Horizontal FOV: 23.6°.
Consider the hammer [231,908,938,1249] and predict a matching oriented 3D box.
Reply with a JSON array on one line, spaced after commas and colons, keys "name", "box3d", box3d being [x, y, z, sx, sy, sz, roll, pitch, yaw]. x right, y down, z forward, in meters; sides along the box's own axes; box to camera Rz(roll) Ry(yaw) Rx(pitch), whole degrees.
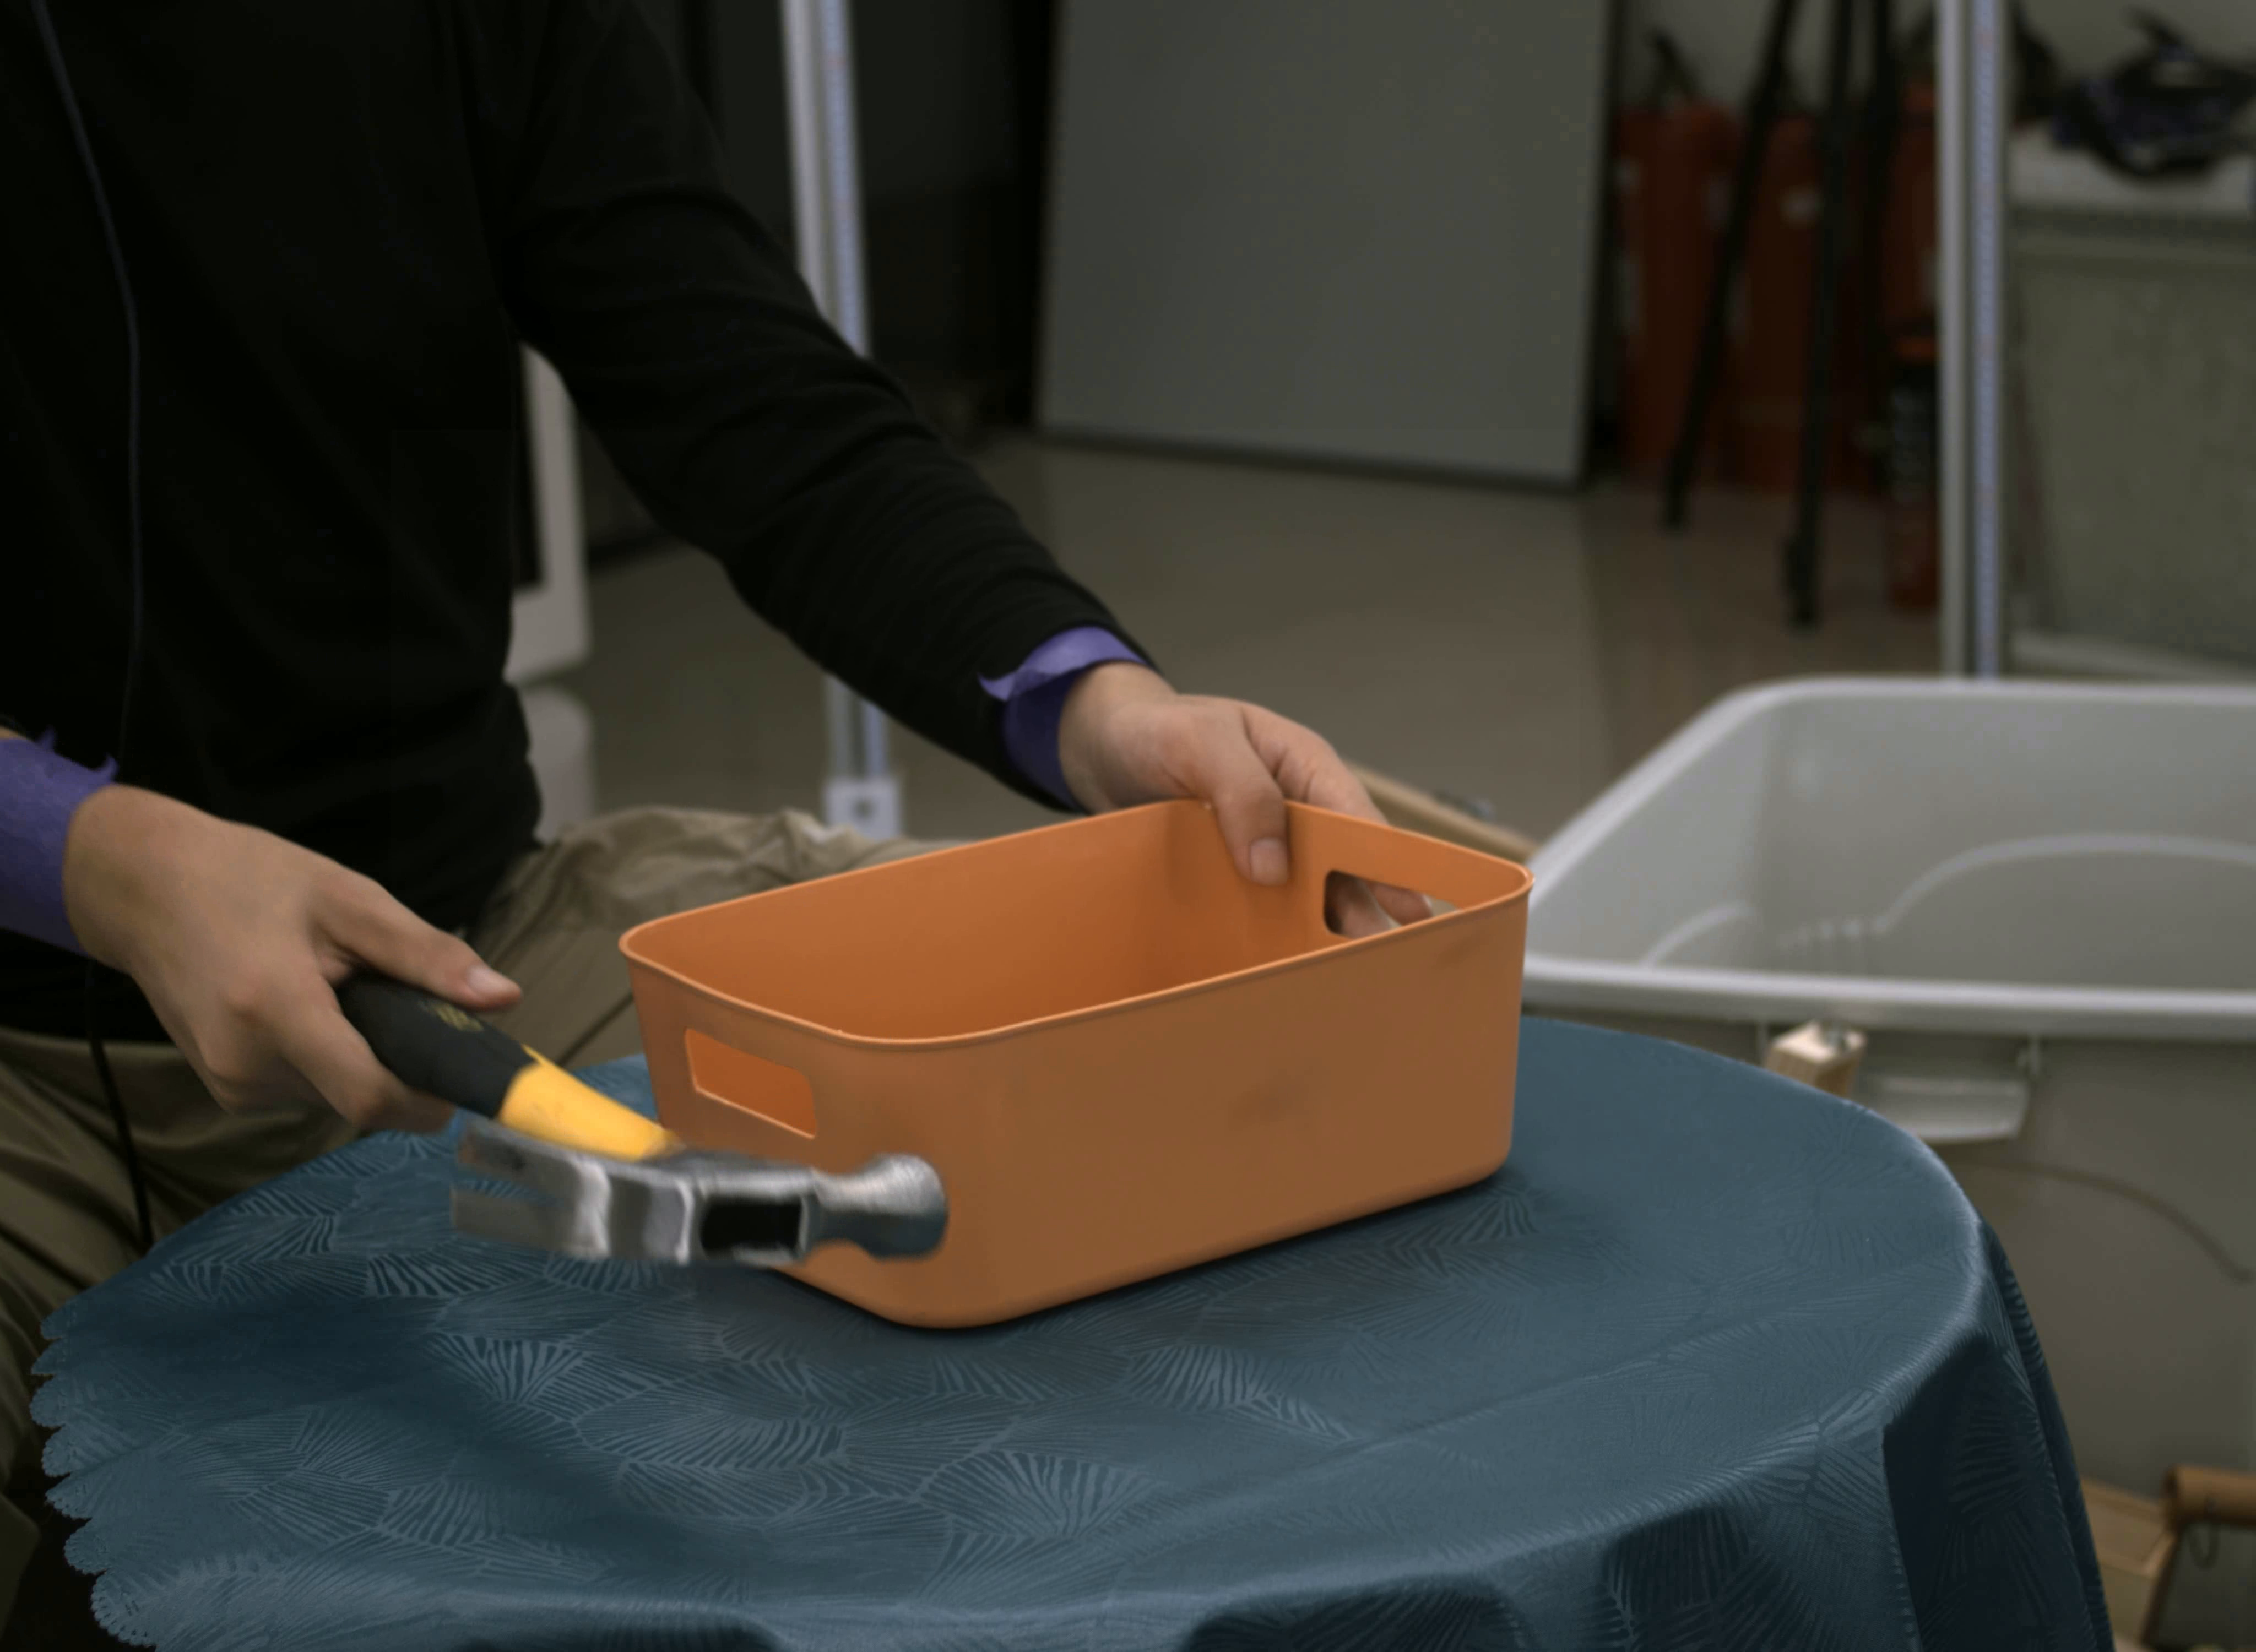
[{"name": "hammer", "box3d": [-0.192, 0.071, 1.636, 0.128, 0.032, 0.342, 2, 10, -31]}]

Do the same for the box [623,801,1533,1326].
[{"name": "box", "box3d": [-0.013, 0.074, 1.754, 0.267, 0.104, 0.201, -13, 15, -33]}]
